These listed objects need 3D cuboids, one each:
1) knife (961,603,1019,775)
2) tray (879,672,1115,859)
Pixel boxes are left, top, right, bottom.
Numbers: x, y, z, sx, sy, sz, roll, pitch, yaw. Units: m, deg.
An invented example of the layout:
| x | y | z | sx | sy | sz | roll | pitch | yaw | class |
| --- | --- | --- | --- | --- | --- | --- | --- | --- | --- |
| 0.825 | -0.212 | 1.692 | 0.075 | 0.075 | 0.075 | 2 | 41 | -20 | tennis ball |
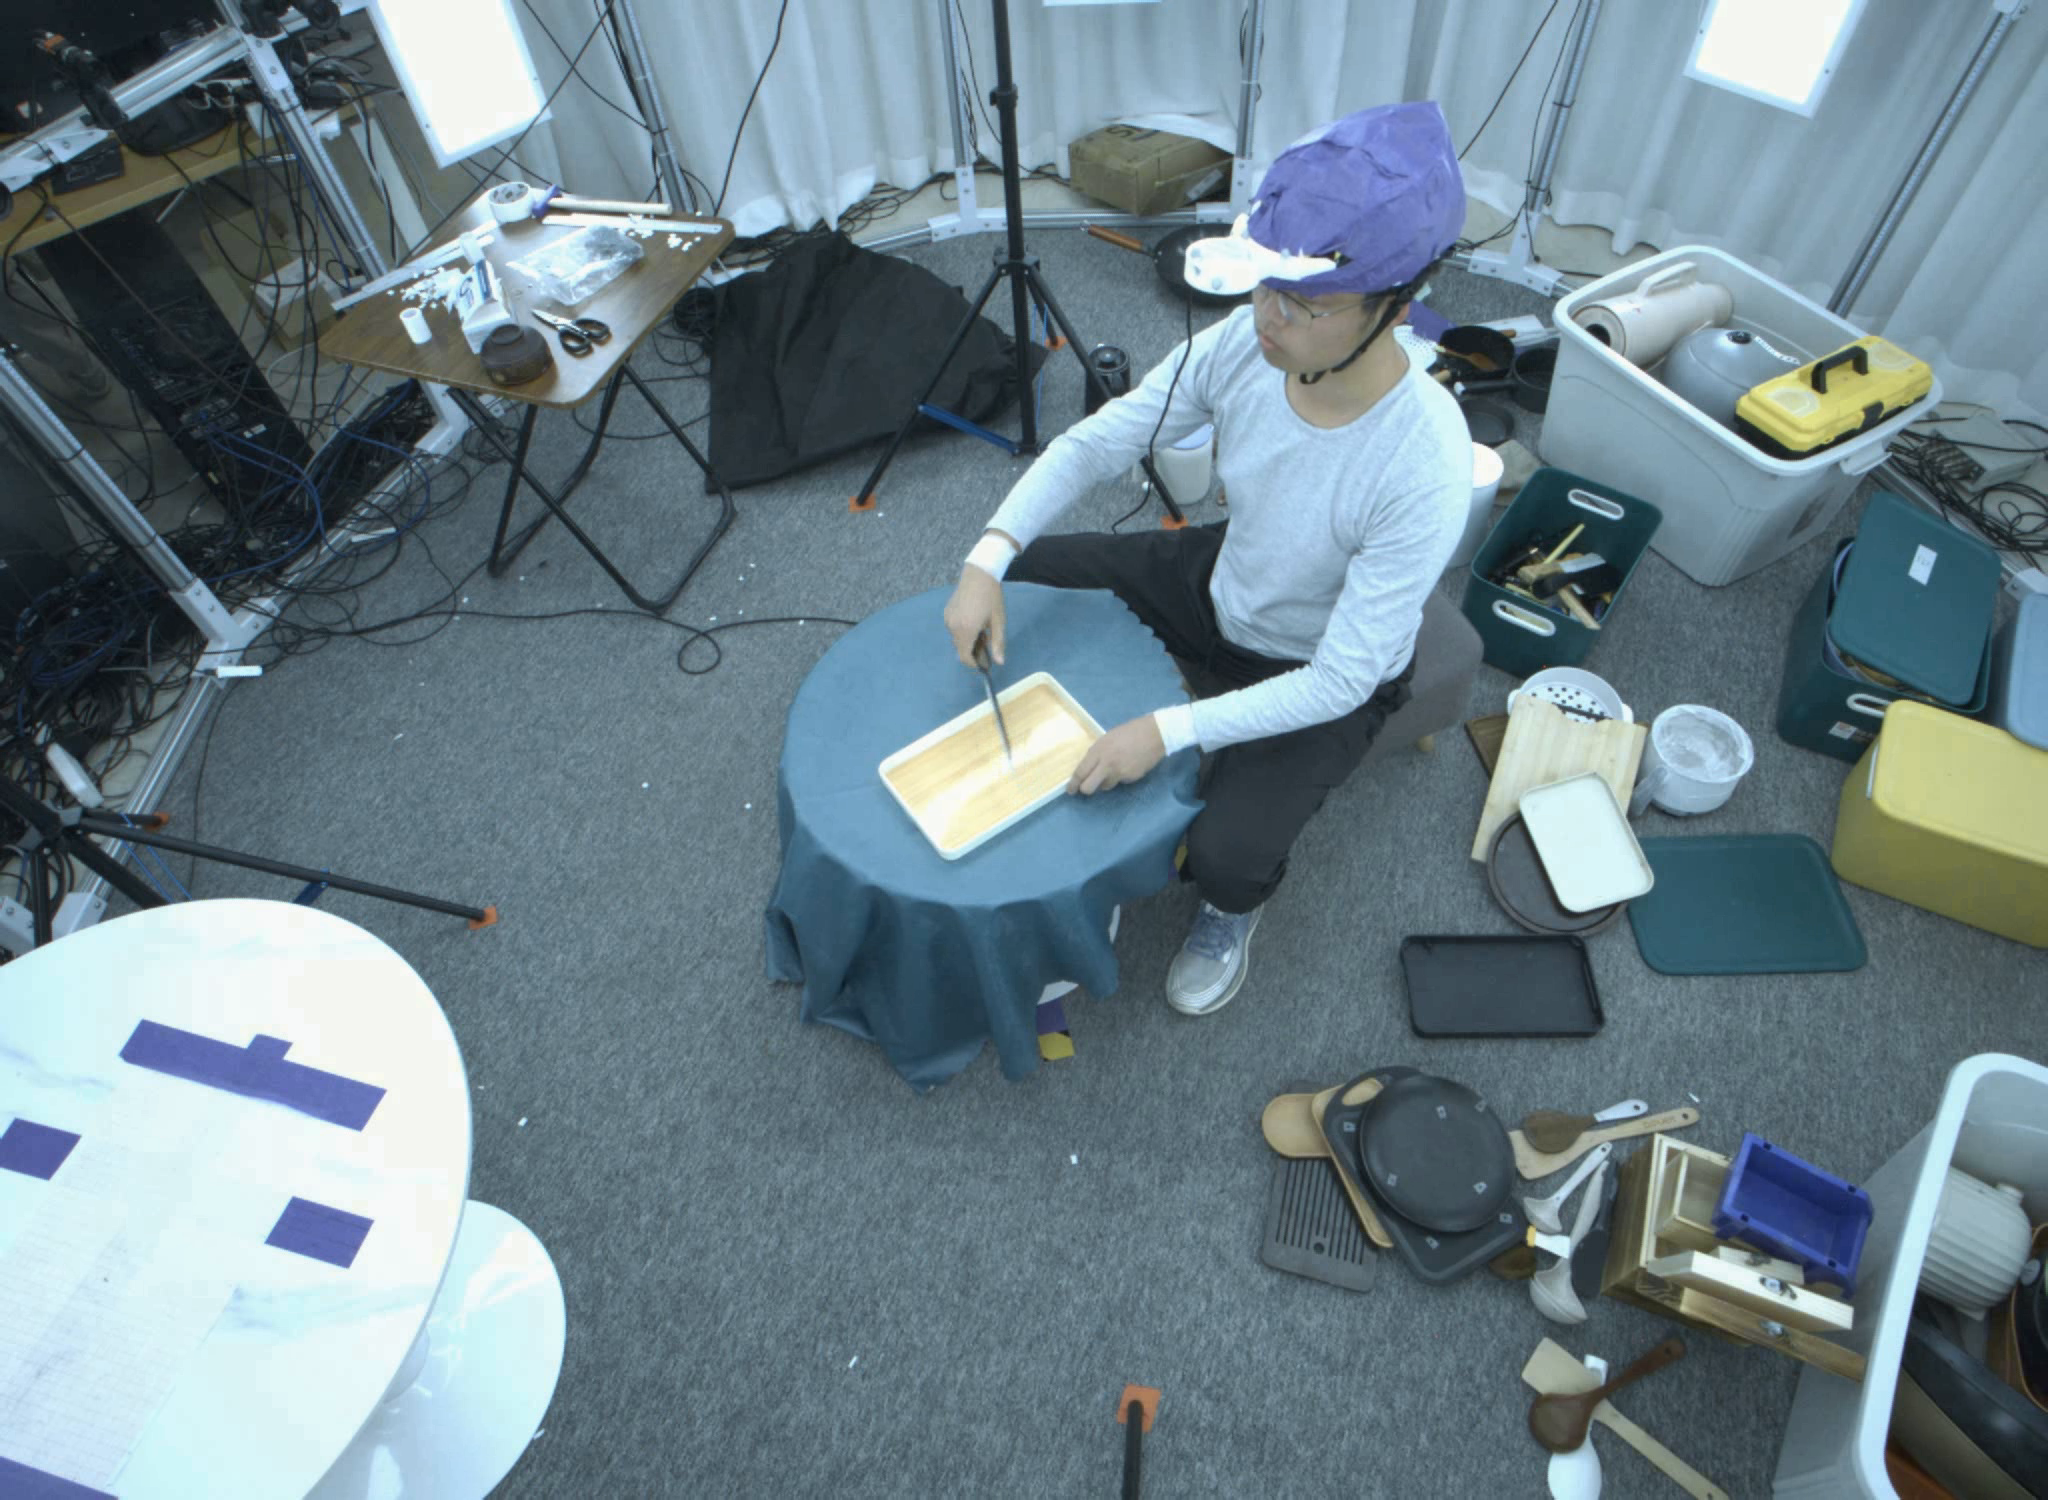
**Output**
| x | y | z | sx | sy | sz | roll | pitch | yaw | class |
| --- | --- | --- | --- | --- | --- | --- | --- | --- | --- |
| -0.046 | -0.090 | 1.754 | 0.020 | 0.050 | 0.285 | -13 | 65 | -10 | knife |
| -0.038 | 0.017 | 1.768 | 0.303 | 0.028 | 0.188 | -31 | 59 | -19 | tray |
